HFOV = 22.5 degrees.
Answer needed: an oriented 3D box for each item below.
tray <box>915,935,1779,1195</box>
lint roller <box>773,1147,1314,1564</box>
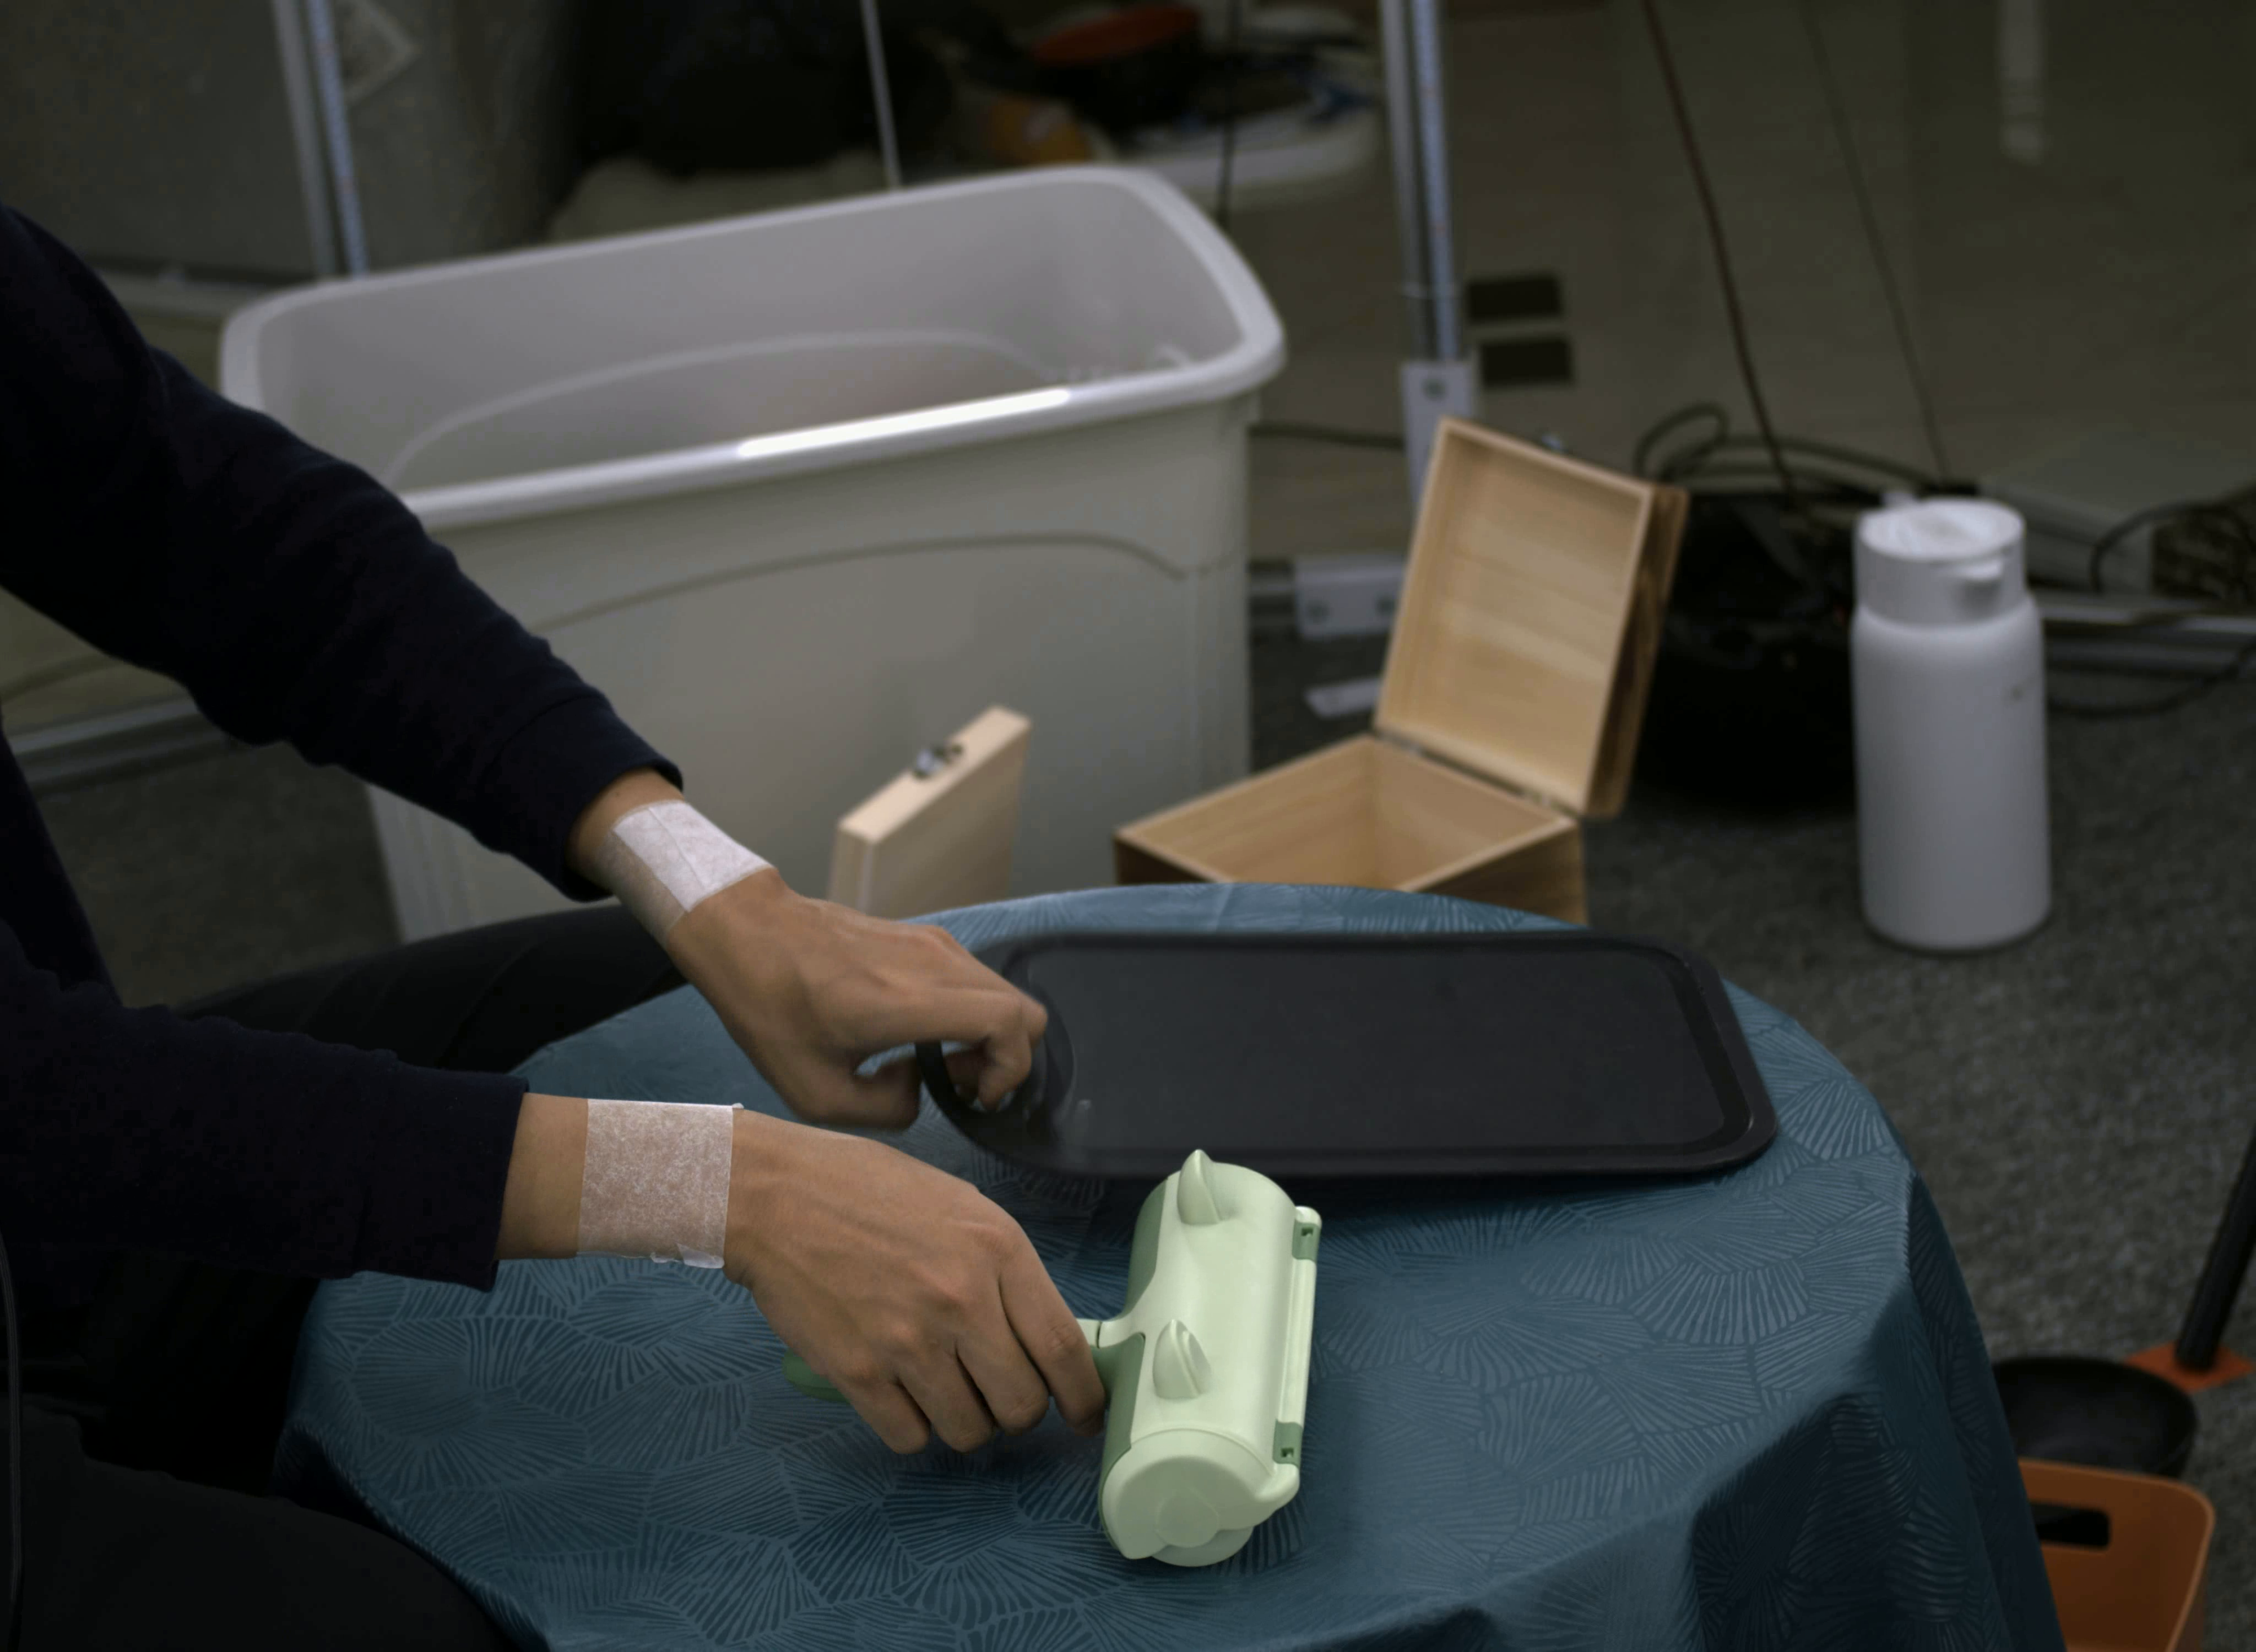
[{"bbox_3d":[0.080,0.089,2.189,0.325,0.010,0.208,-2,24,-4],"label":"tray"},{"bbox_3d":[-0.029,0.168,1.969,0.183,0.083,0.195,10,26,-1],"label":"lint roller"}]
